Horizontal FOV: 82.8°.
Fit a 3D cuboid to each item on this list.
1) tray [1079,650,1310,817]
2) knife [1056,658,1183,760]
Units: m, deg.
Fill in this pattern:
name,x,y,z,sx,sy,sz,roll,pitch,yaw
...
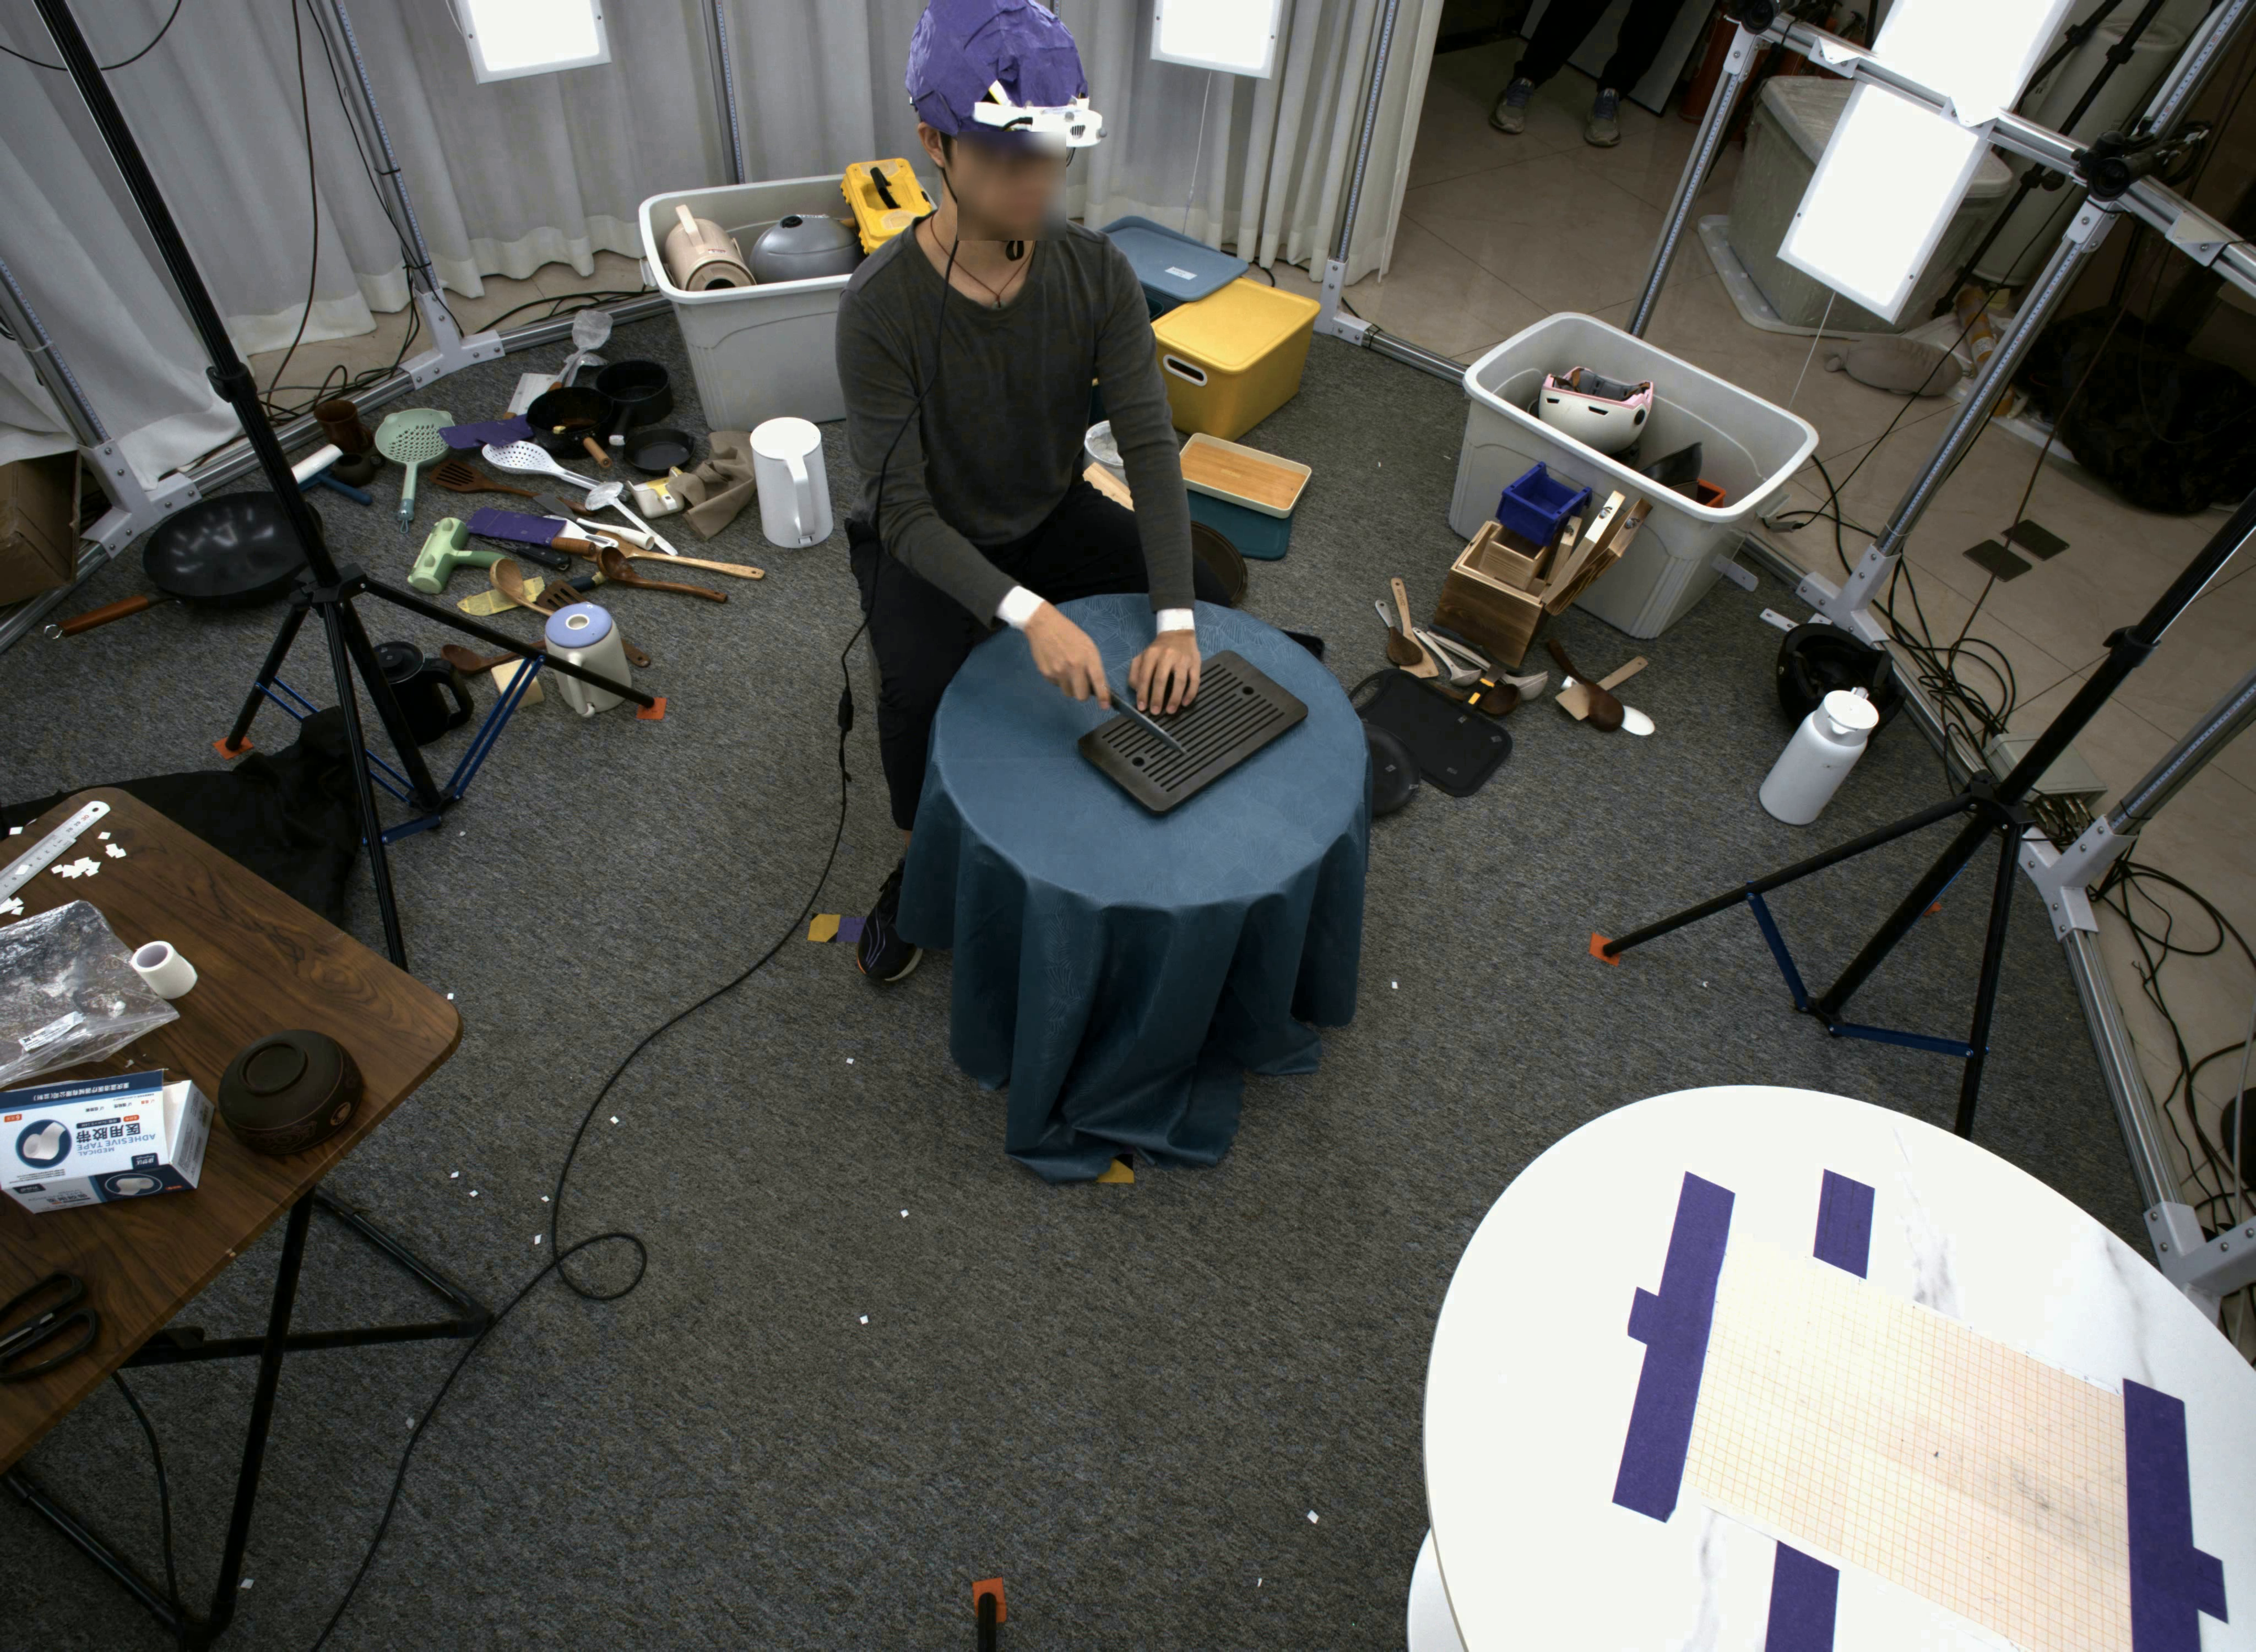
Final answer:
name,x,y,z,sx,sy,sz,roll,pitch,yaw
tray,0.094,-0.132,1.777,0.308,0.018,0.173,-34,59,-28
knife,-0.012,-0.157,1.698,0.016,0.024,0.242,-32,59,-32
